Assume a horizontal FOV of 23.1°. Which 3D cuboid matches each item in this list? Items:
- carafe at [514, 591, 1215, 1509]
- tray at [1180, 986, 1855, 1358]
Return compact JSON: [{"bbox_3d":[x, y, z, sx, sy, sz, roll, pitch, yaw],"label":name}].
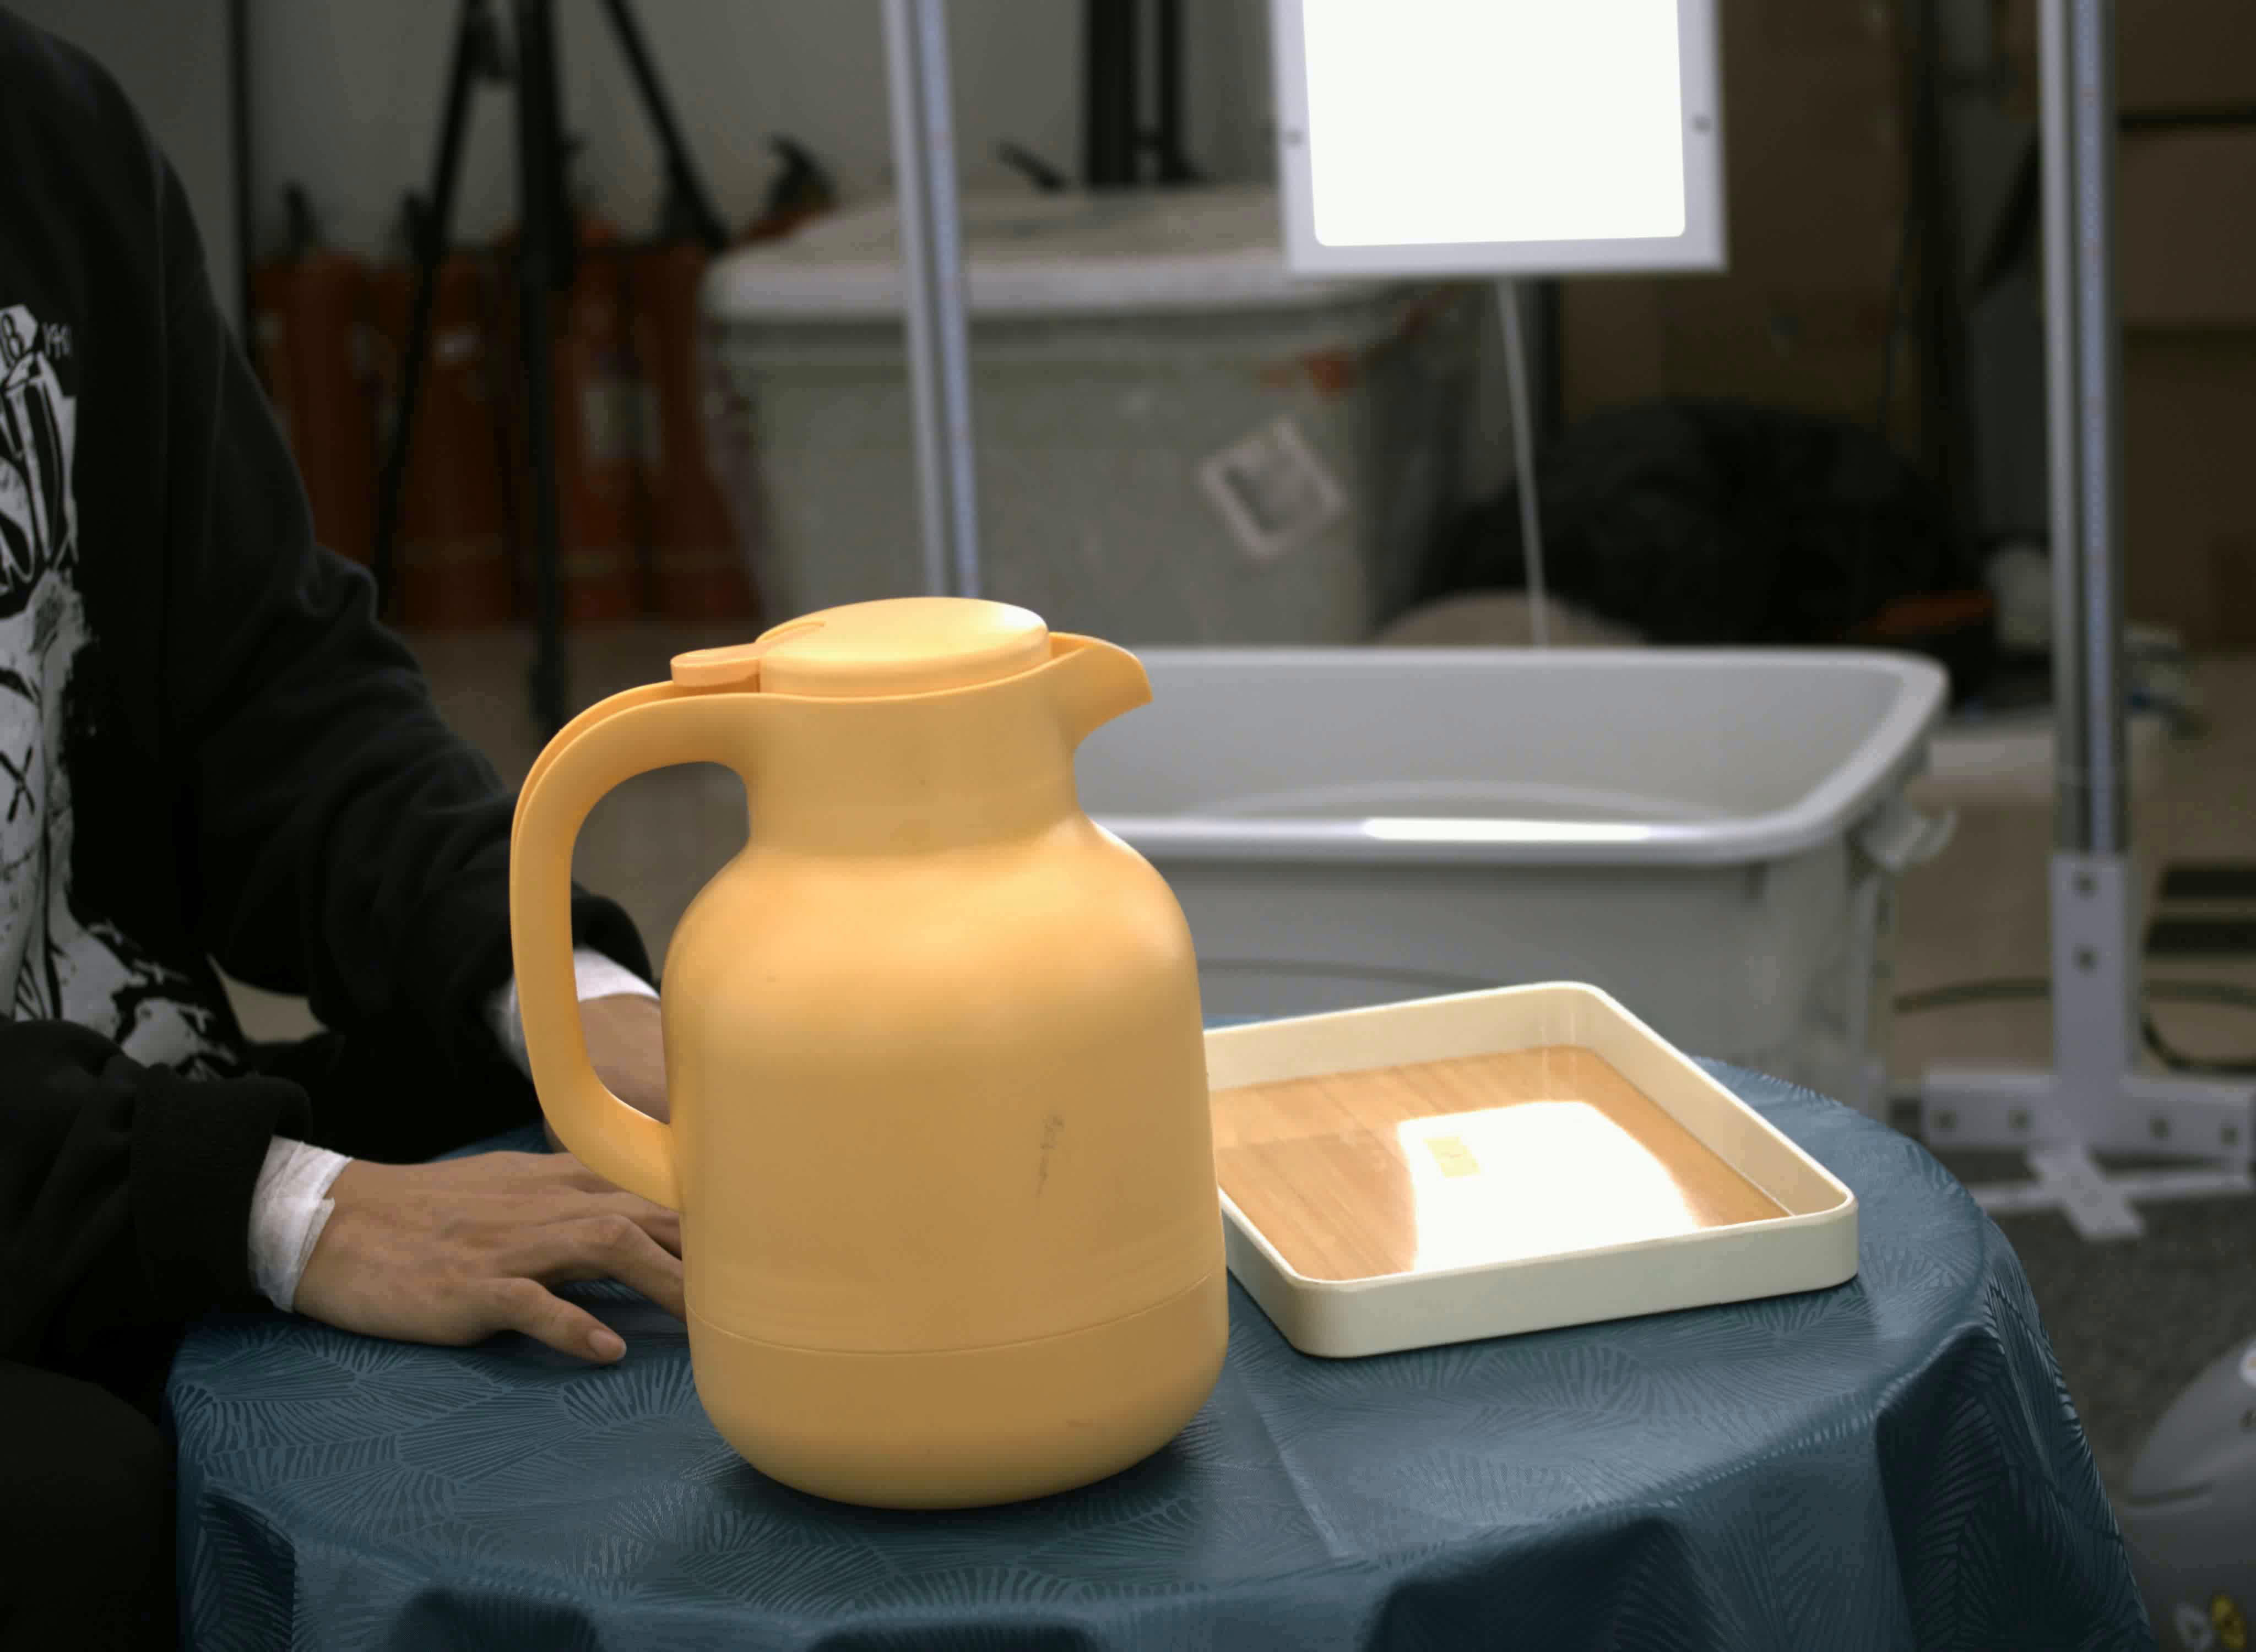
[{"bbox_3d":[-0.079,0.063,1.636,0.201,0.261,0.164,-4,11,-4],"label":"carafe"},{"bbox_3d":[0.111,0.112,1.860,0.189,0.027,0.302,-7,14,-11],"label":"tray"}]
